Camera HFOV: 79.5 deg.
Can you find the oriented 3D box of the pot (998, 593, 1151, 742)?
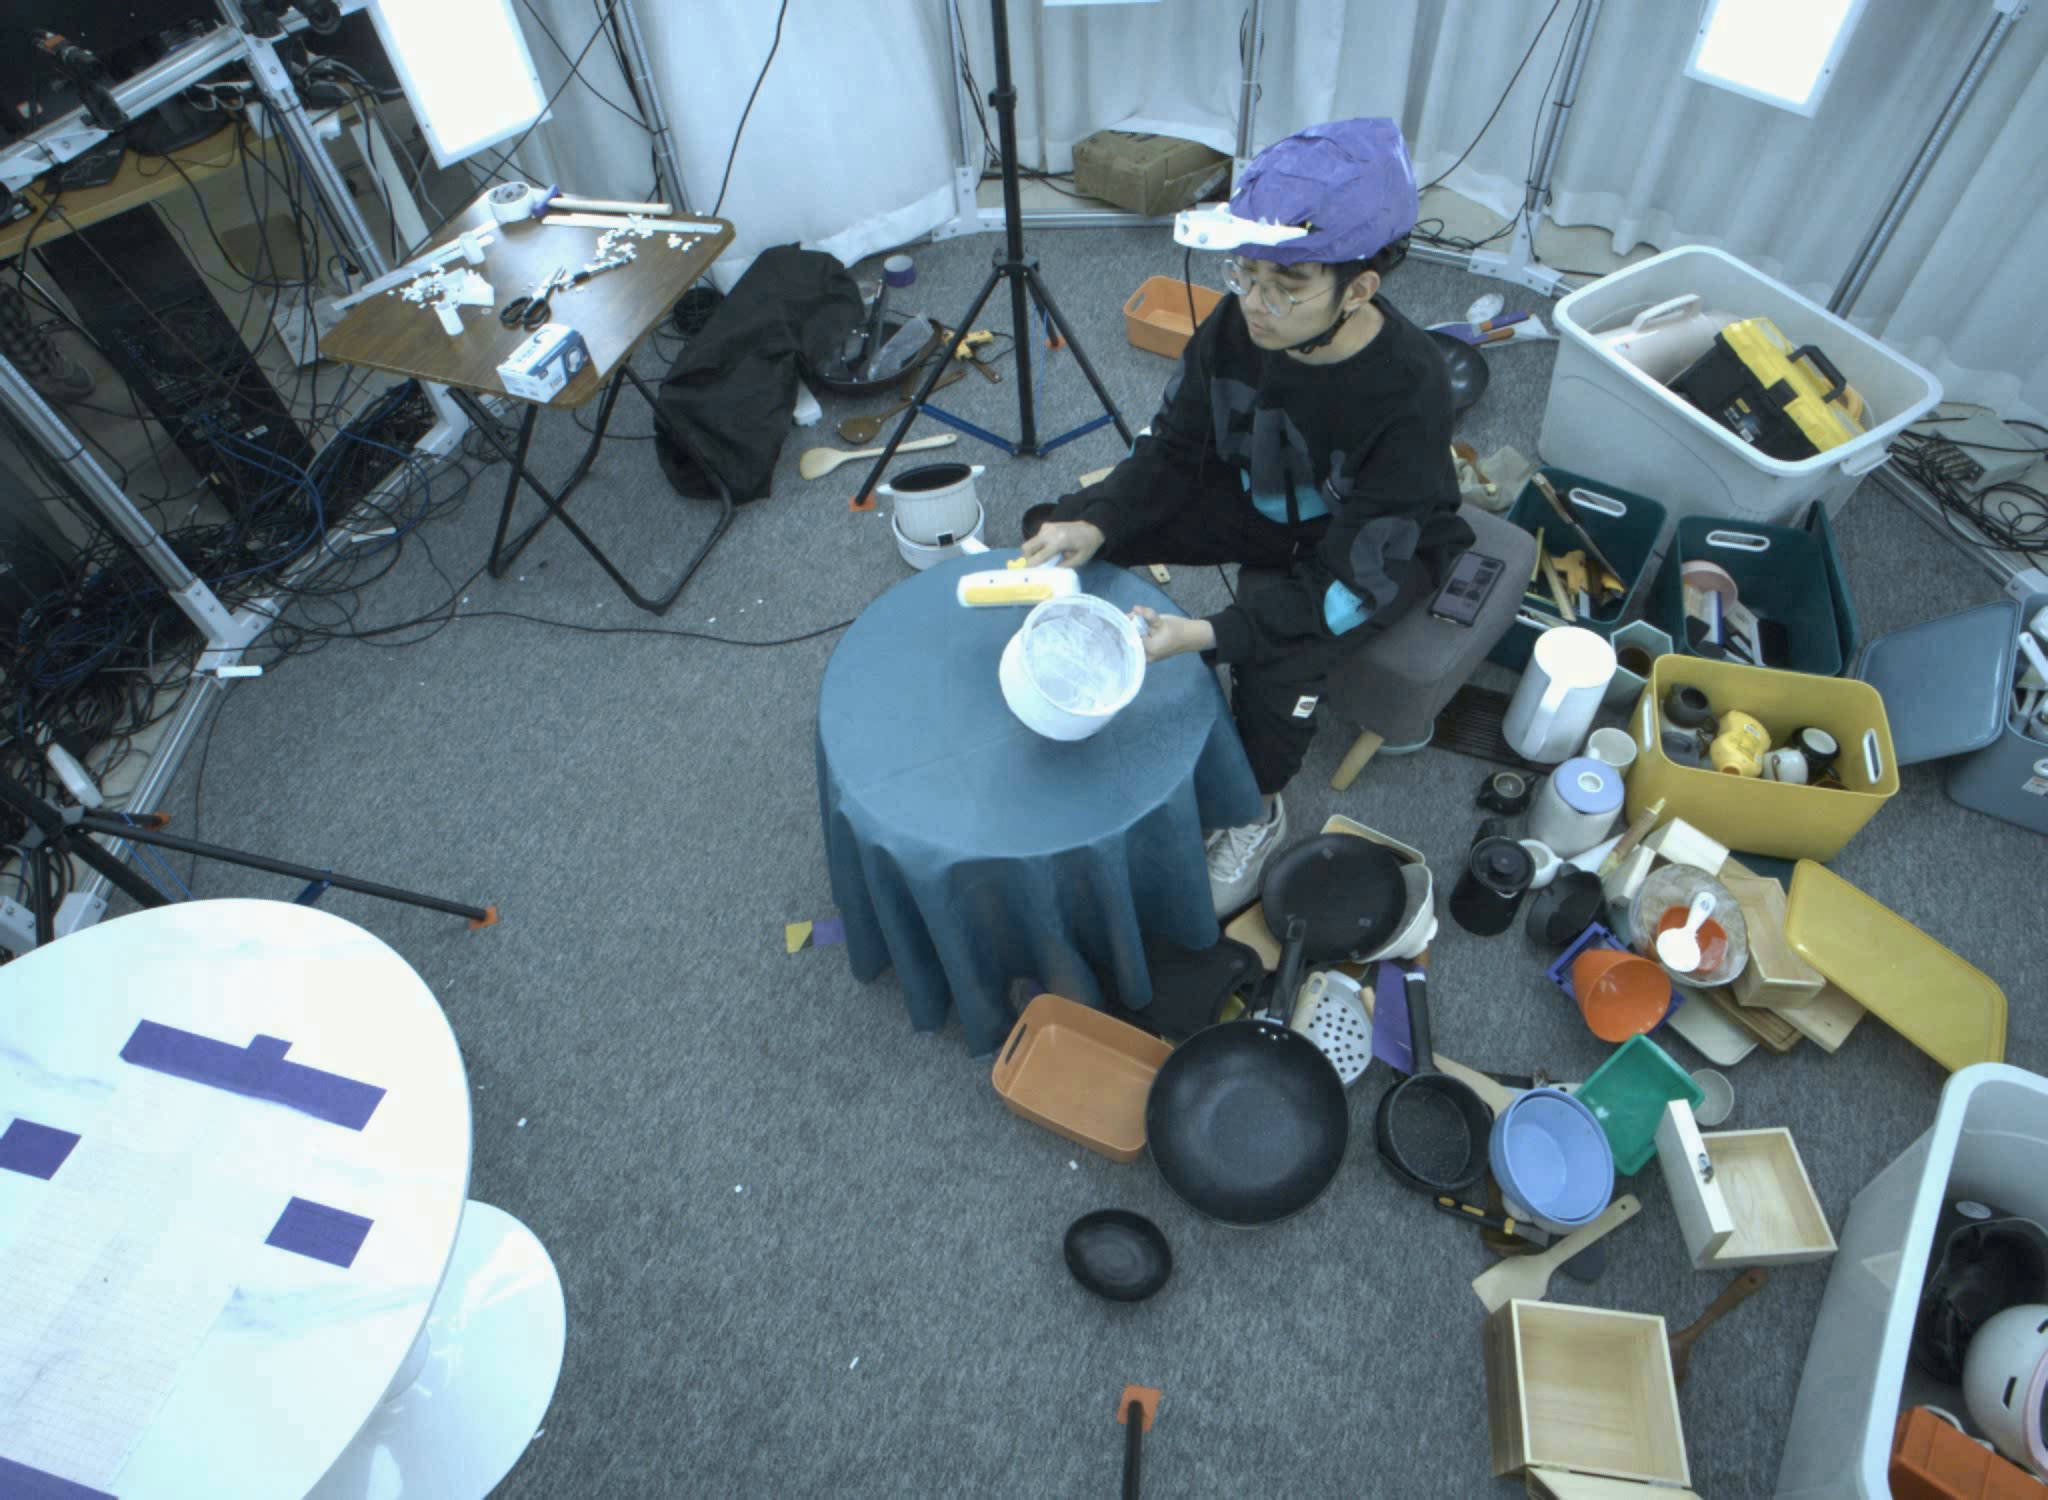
[{"bbox_3d":[0.081,-0.122,1.689,0.236,0.135,0.178,-32,88,-23],"label":"pot"}]

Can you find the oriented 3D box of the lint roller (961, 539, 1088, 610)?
[{"bbox_3d":[0.018,-0.266,1.845,0.190,0.075,0.193,-4,22,25],"label":"lint roller"}]
